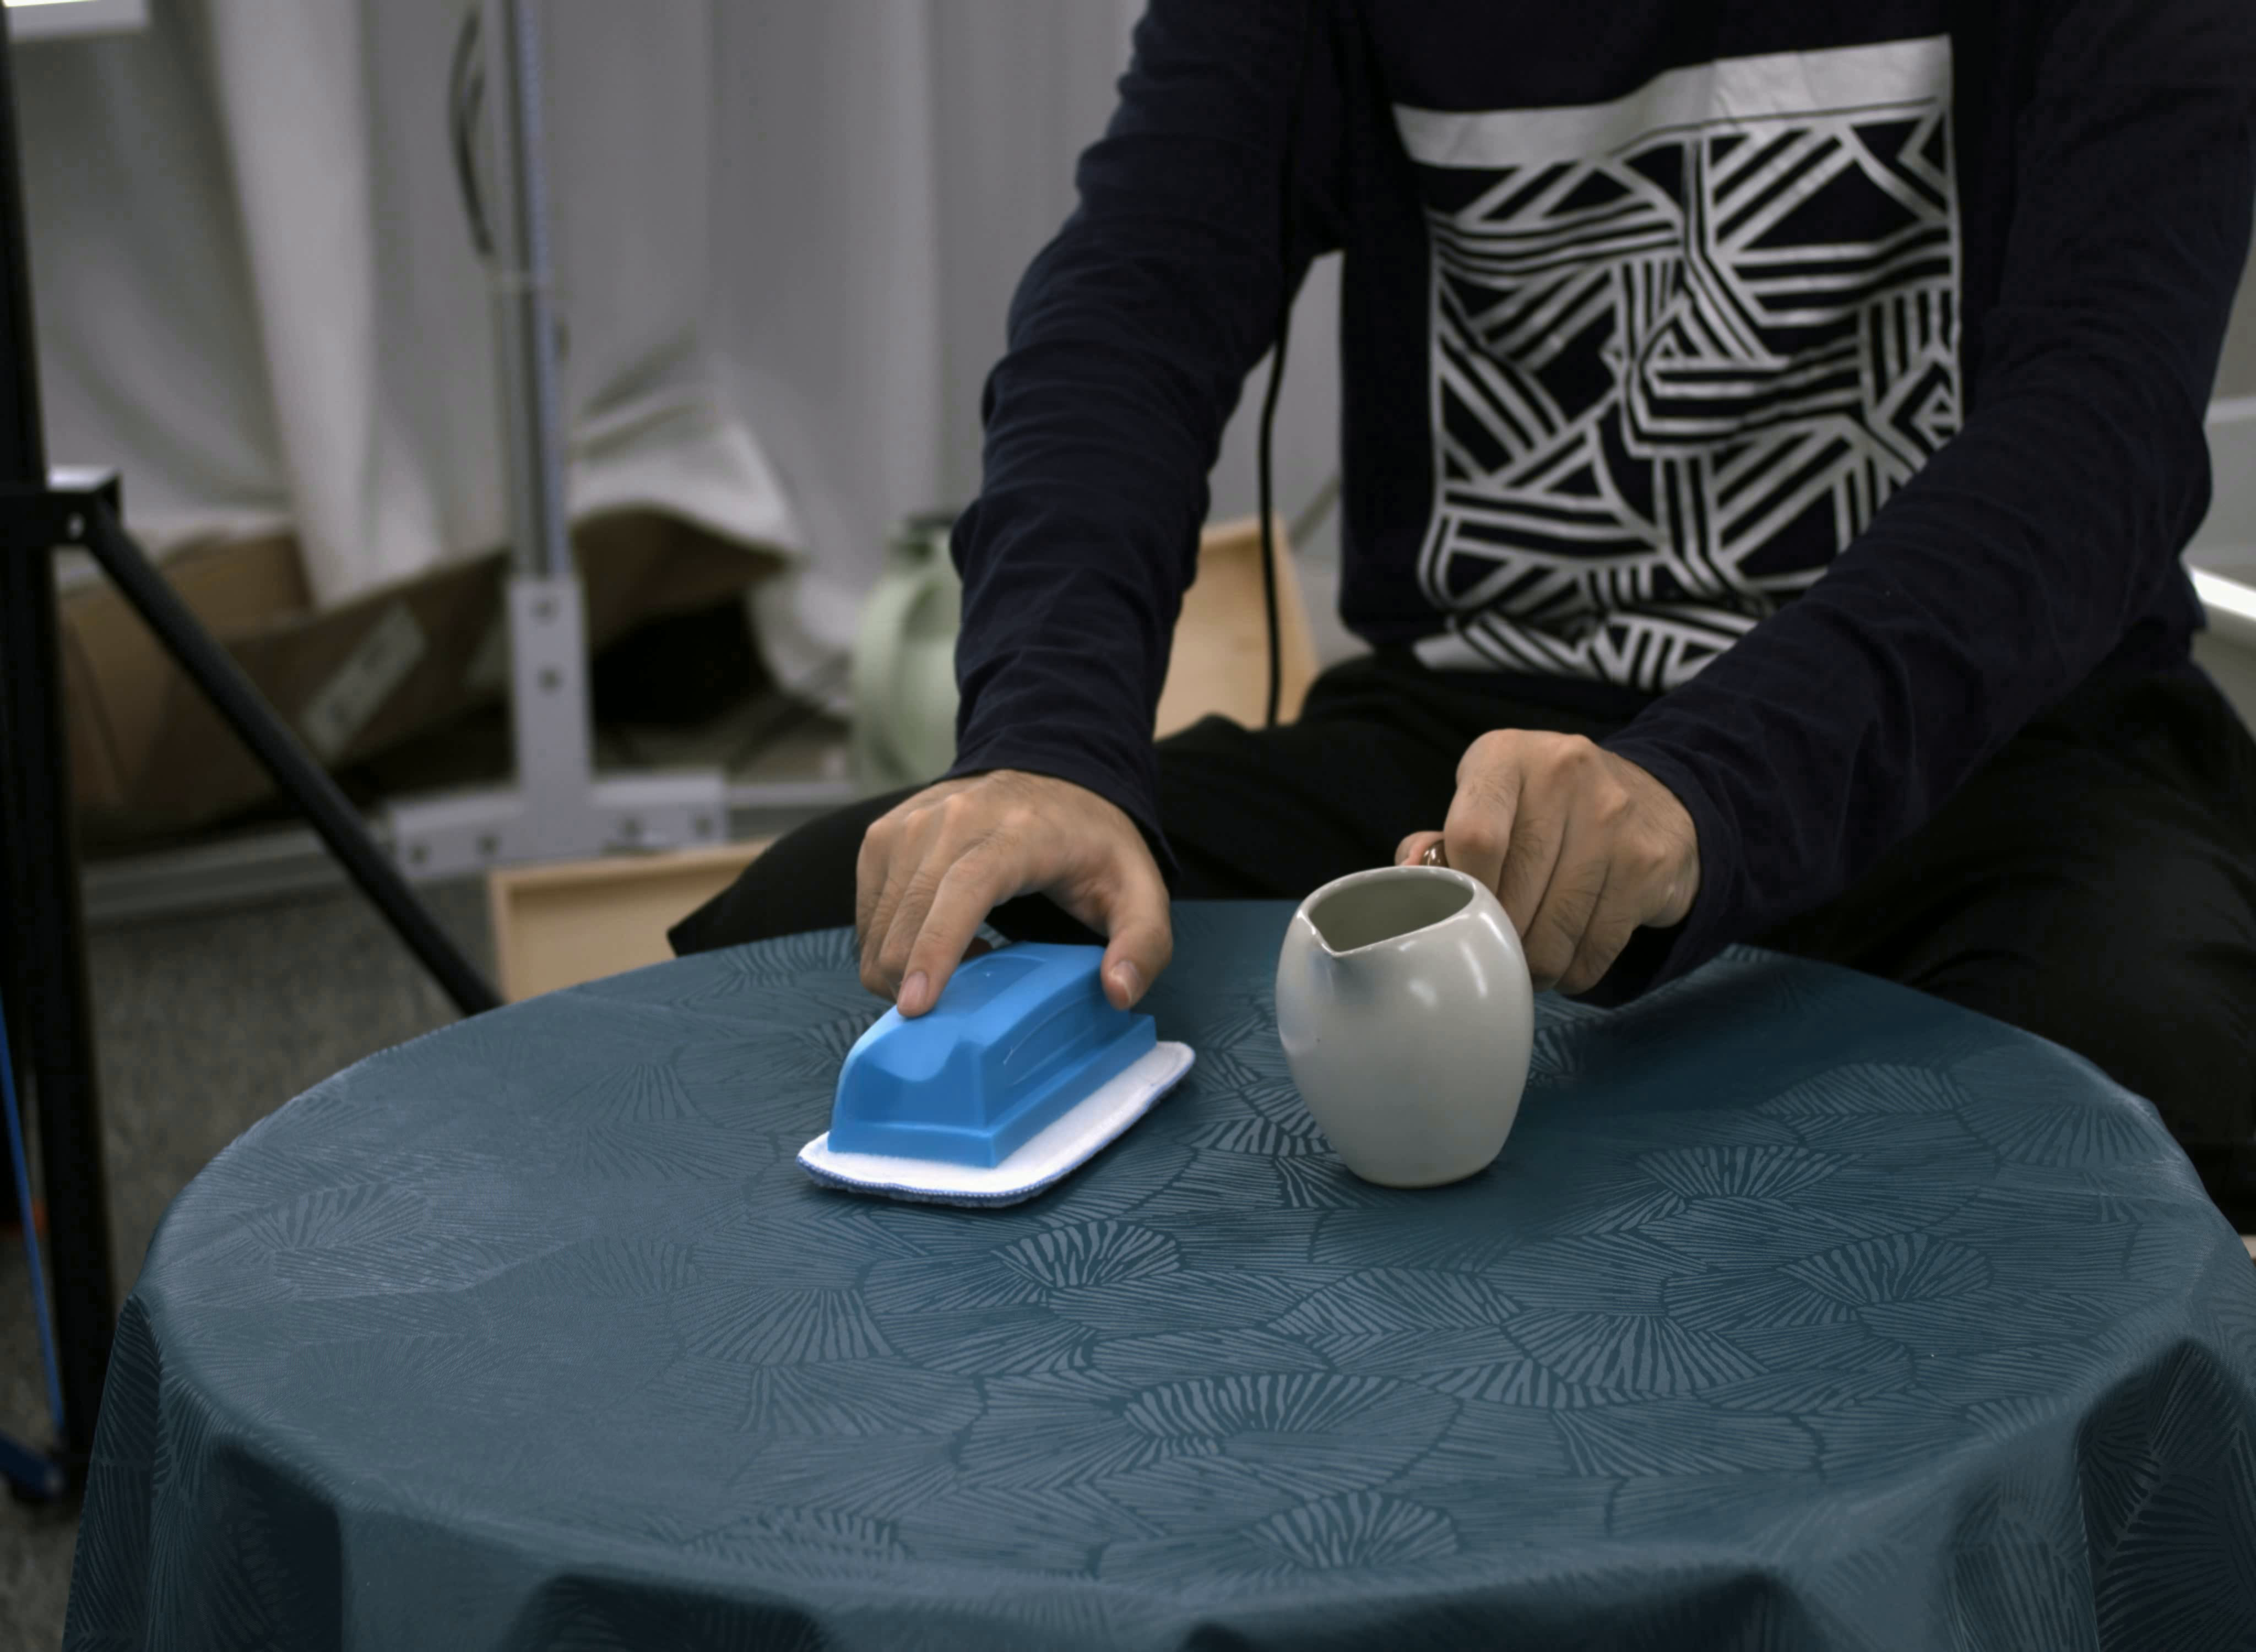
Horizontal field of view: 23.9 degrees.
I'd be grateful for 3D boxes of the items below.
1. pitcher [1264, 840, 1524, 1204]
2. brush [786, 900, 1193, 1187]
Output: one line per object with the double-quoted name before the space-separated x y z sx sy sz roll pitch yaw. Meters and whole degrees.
"pitcher" 0.082 0.058 1.554 0.077 0.087 0.118 6 29 25
"brush" -0.040 0.062 1.617 0.085 0.056 0.142 9 22 25
